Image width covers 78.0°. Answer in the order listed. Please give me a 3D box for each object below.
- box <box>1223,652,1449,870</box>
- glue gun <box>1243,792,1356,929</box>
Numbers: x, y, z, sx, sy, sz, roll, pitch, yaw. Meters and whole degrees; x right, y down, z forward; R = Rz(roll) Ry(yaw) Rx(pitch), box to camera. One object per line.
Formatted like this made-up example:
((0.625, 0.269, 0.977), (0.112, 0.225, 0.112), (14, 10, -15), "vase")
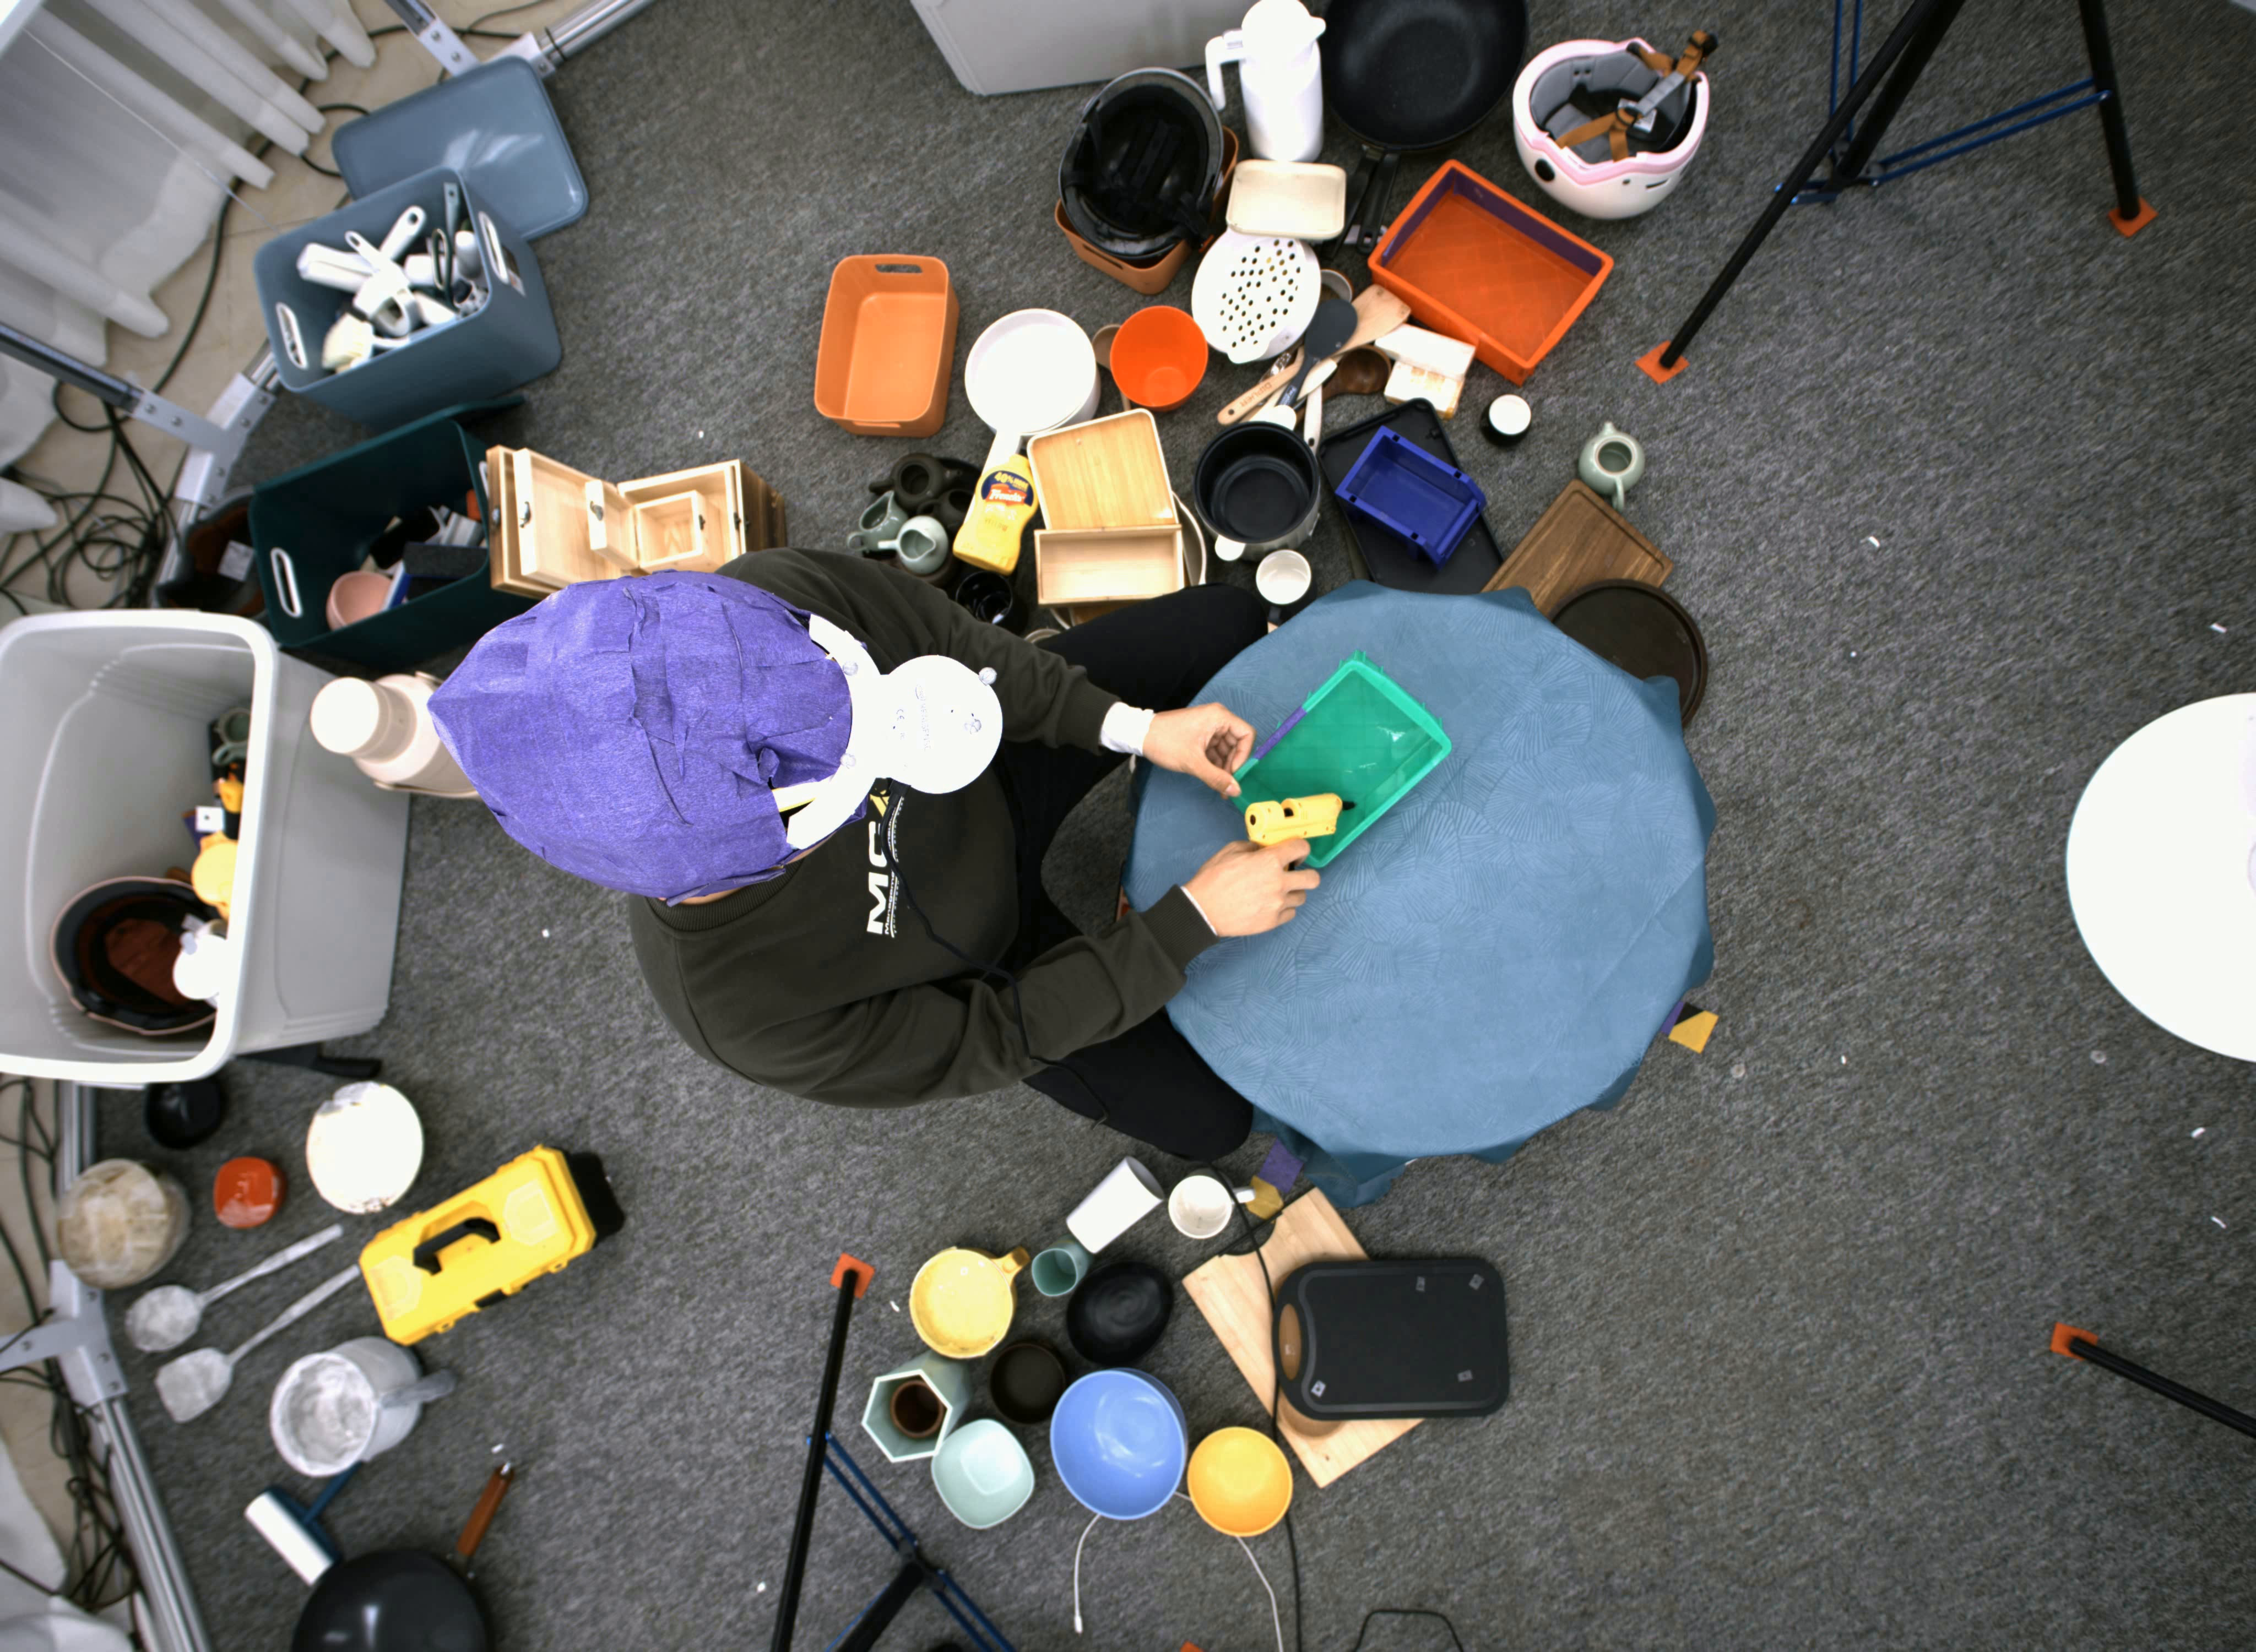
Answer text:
((0.211, -0.069, 1.396), (0.139, 0.064, 0.215), (39, 123, -7), "box")
((0.180, 0.027, 1.414), (0.031, 0.149, 0.135), (23, 120, 49), "glue gun")
